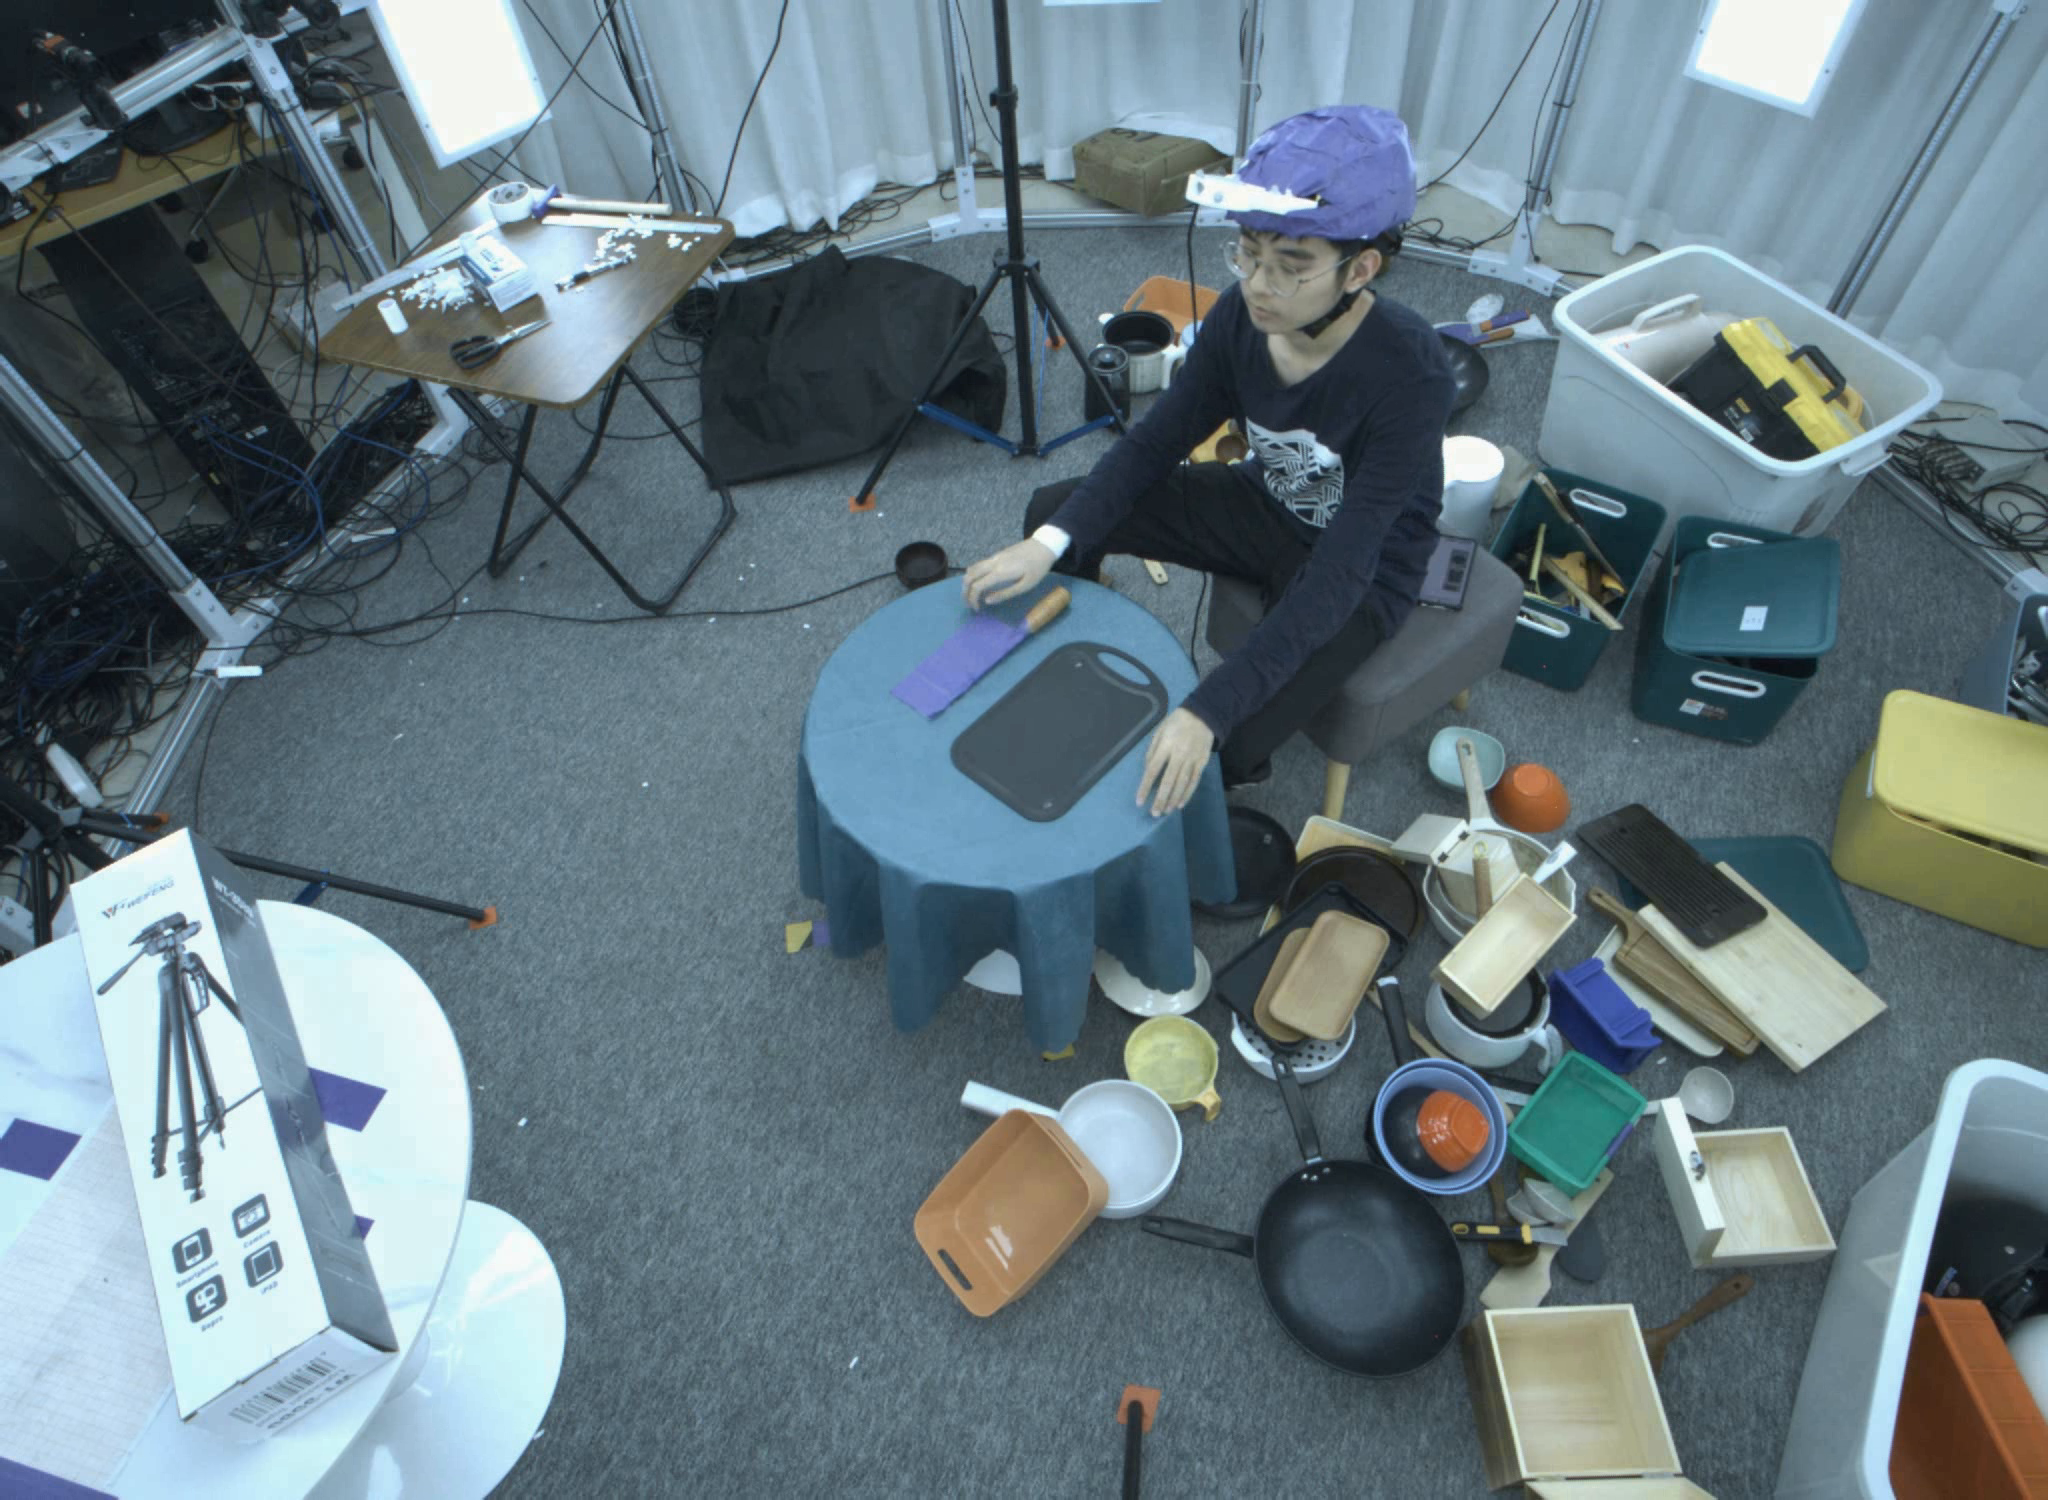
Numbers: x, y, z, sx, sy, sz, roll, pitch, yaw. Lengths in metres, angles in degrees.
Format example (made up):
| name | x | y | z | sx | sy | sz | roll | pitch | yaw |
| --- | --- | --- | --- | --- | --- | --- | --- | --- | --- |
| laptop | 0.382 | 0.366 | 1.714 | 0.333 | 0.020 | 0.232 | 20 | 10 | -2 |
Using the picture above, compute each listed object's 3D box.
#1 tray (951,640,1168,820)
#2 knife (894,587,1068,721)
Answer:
| name | x | y | z | sx | sy | sz | roll | pitch | yaw |
| --- | --- | --- | --- | --- | --- | --- | --- | --- | --- |
| tray | 0.058 | -0.043 | 1.820 | 0.207 | 0.010 | 0.327 | 36 | 62 | 23 |
| knife | -0.067 | -0.167 | 1.900 | 0.102 | 0.032 | 0.317 | 36 | 63 | 24 |
